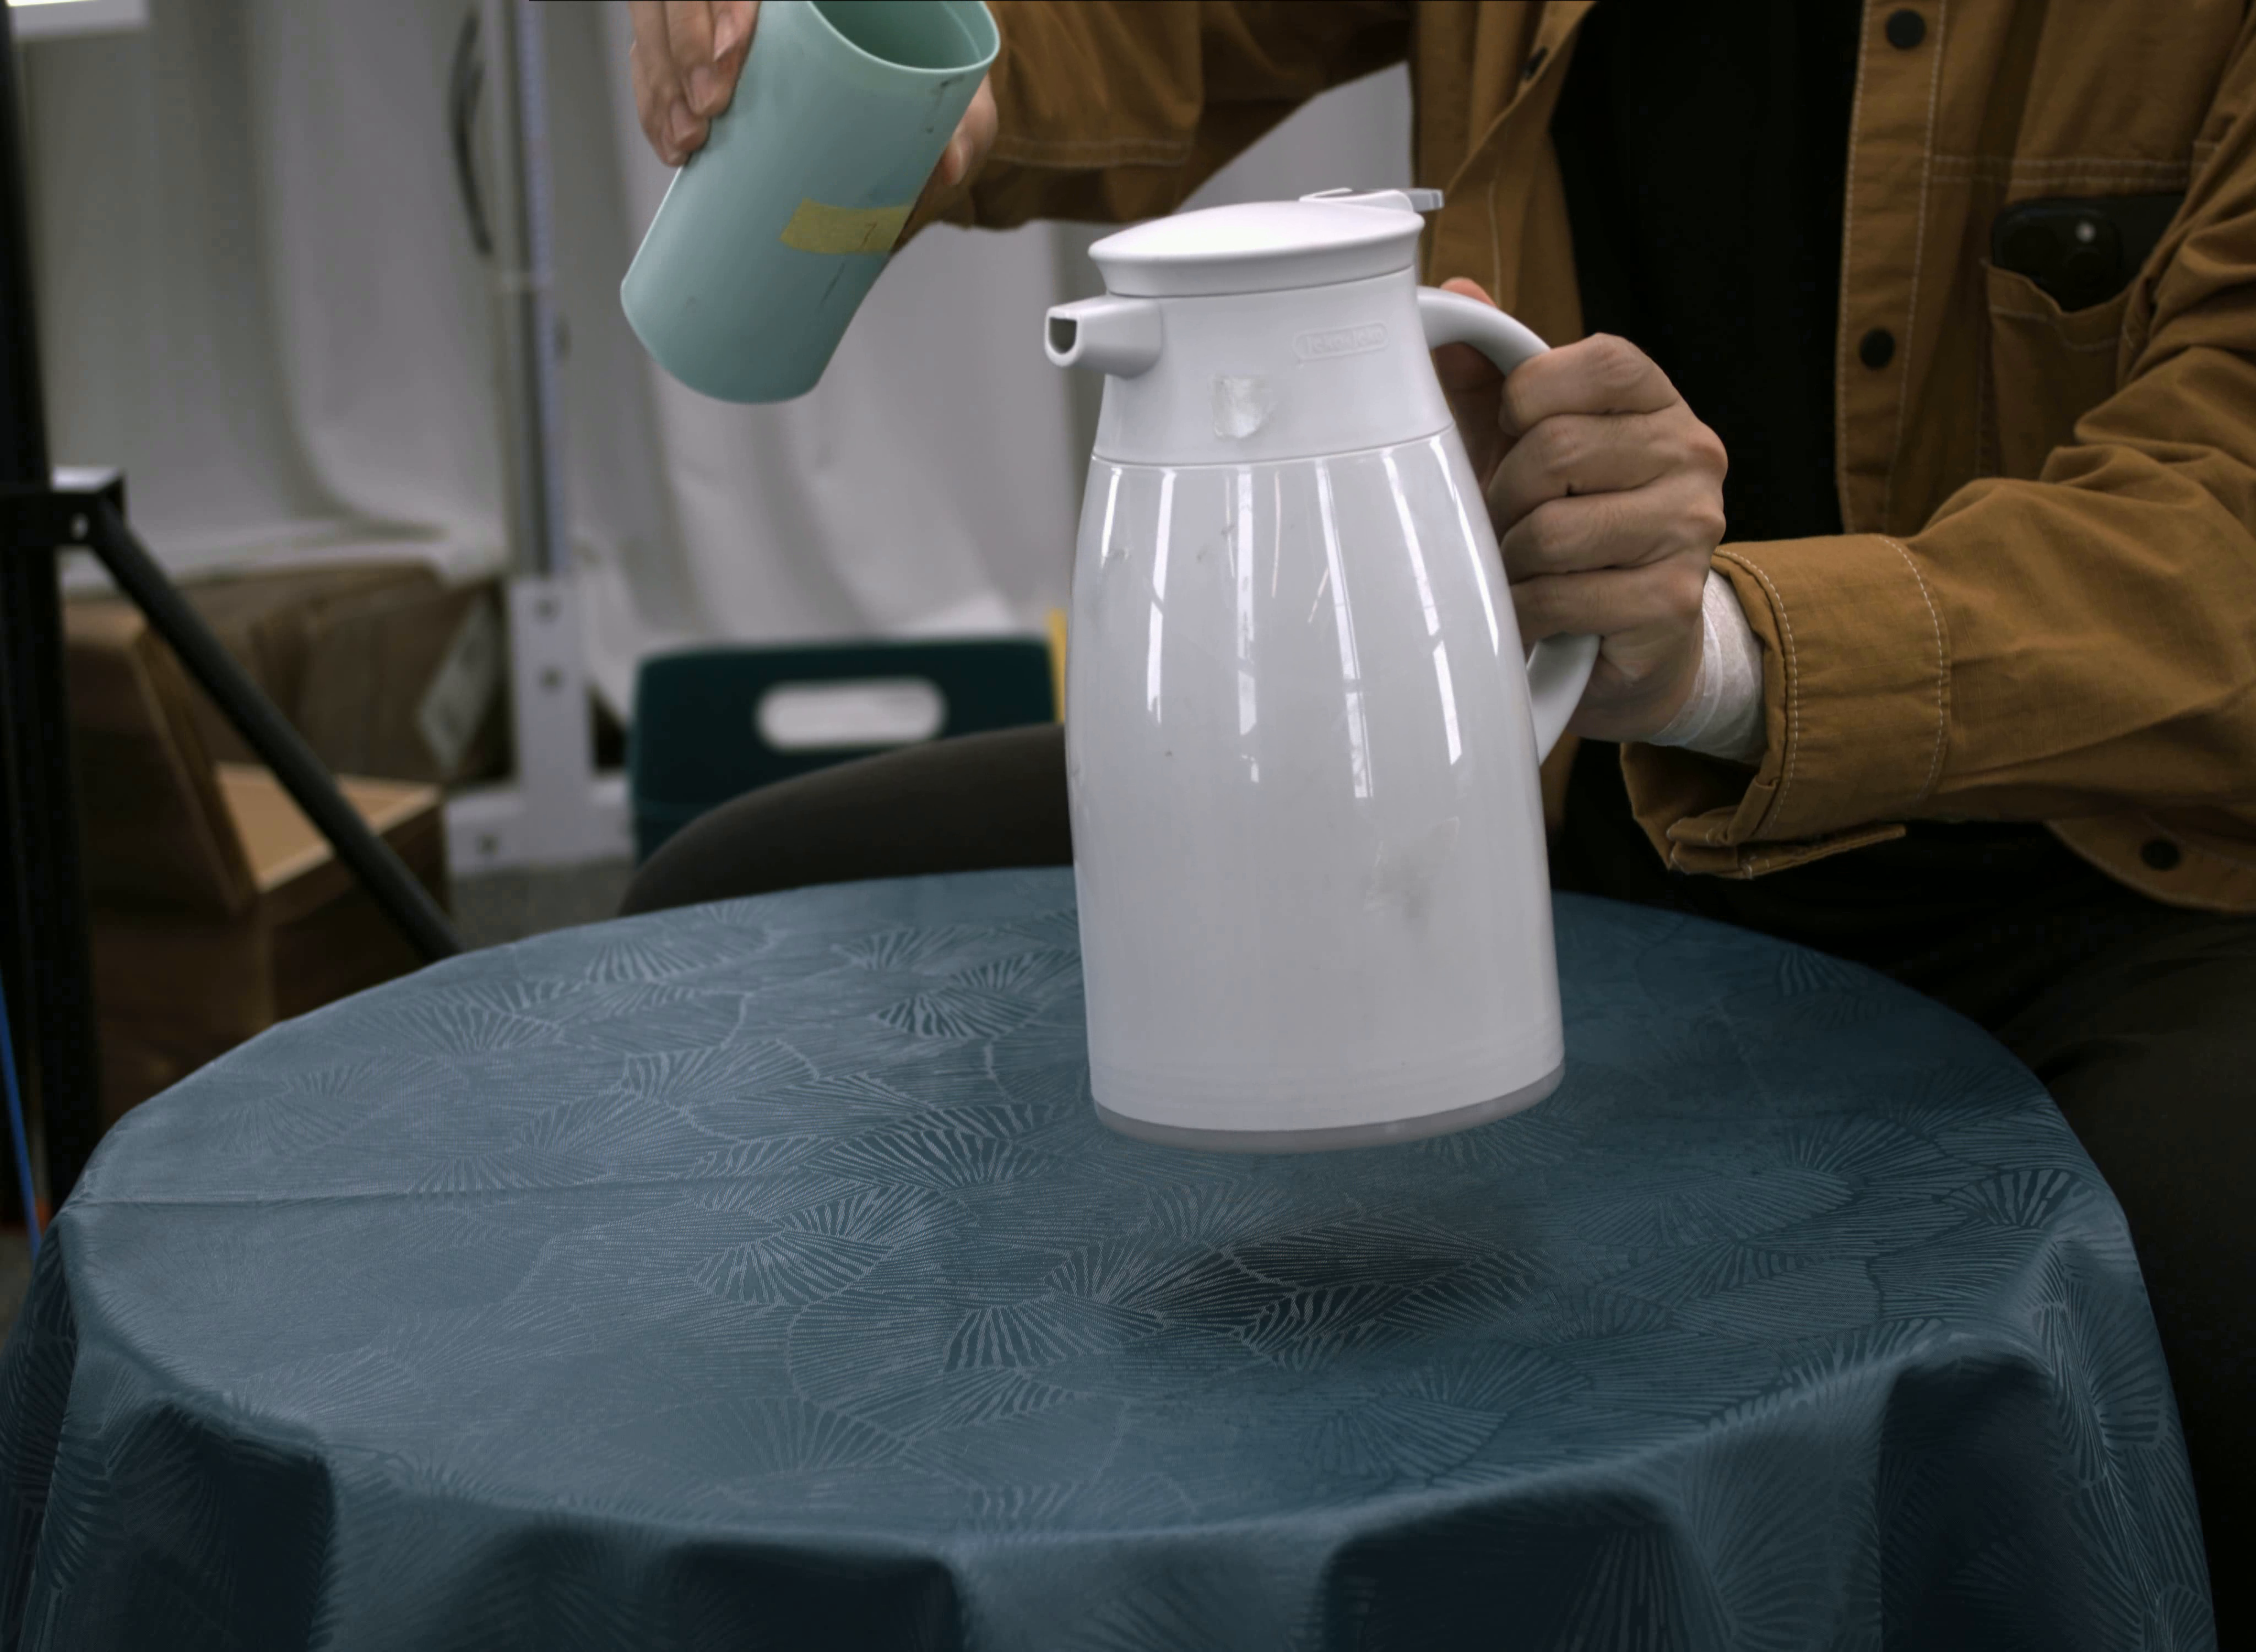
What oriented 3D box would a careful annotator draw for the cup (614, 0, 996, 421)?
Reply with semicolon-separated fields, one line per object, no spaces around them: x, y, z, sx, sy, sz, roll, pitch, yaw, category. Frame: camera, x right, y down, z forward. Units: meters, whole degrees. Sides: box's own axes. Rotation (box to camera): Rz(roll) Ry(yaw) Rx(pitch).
-0.095;-0.186;1.537;0.065;0.133;0.067;19;38;-17;cup

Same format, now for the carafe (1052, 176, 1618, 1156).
0.062;-0.050;1.455;0.164;0.249;0.135;-10;11;-28;carafe
